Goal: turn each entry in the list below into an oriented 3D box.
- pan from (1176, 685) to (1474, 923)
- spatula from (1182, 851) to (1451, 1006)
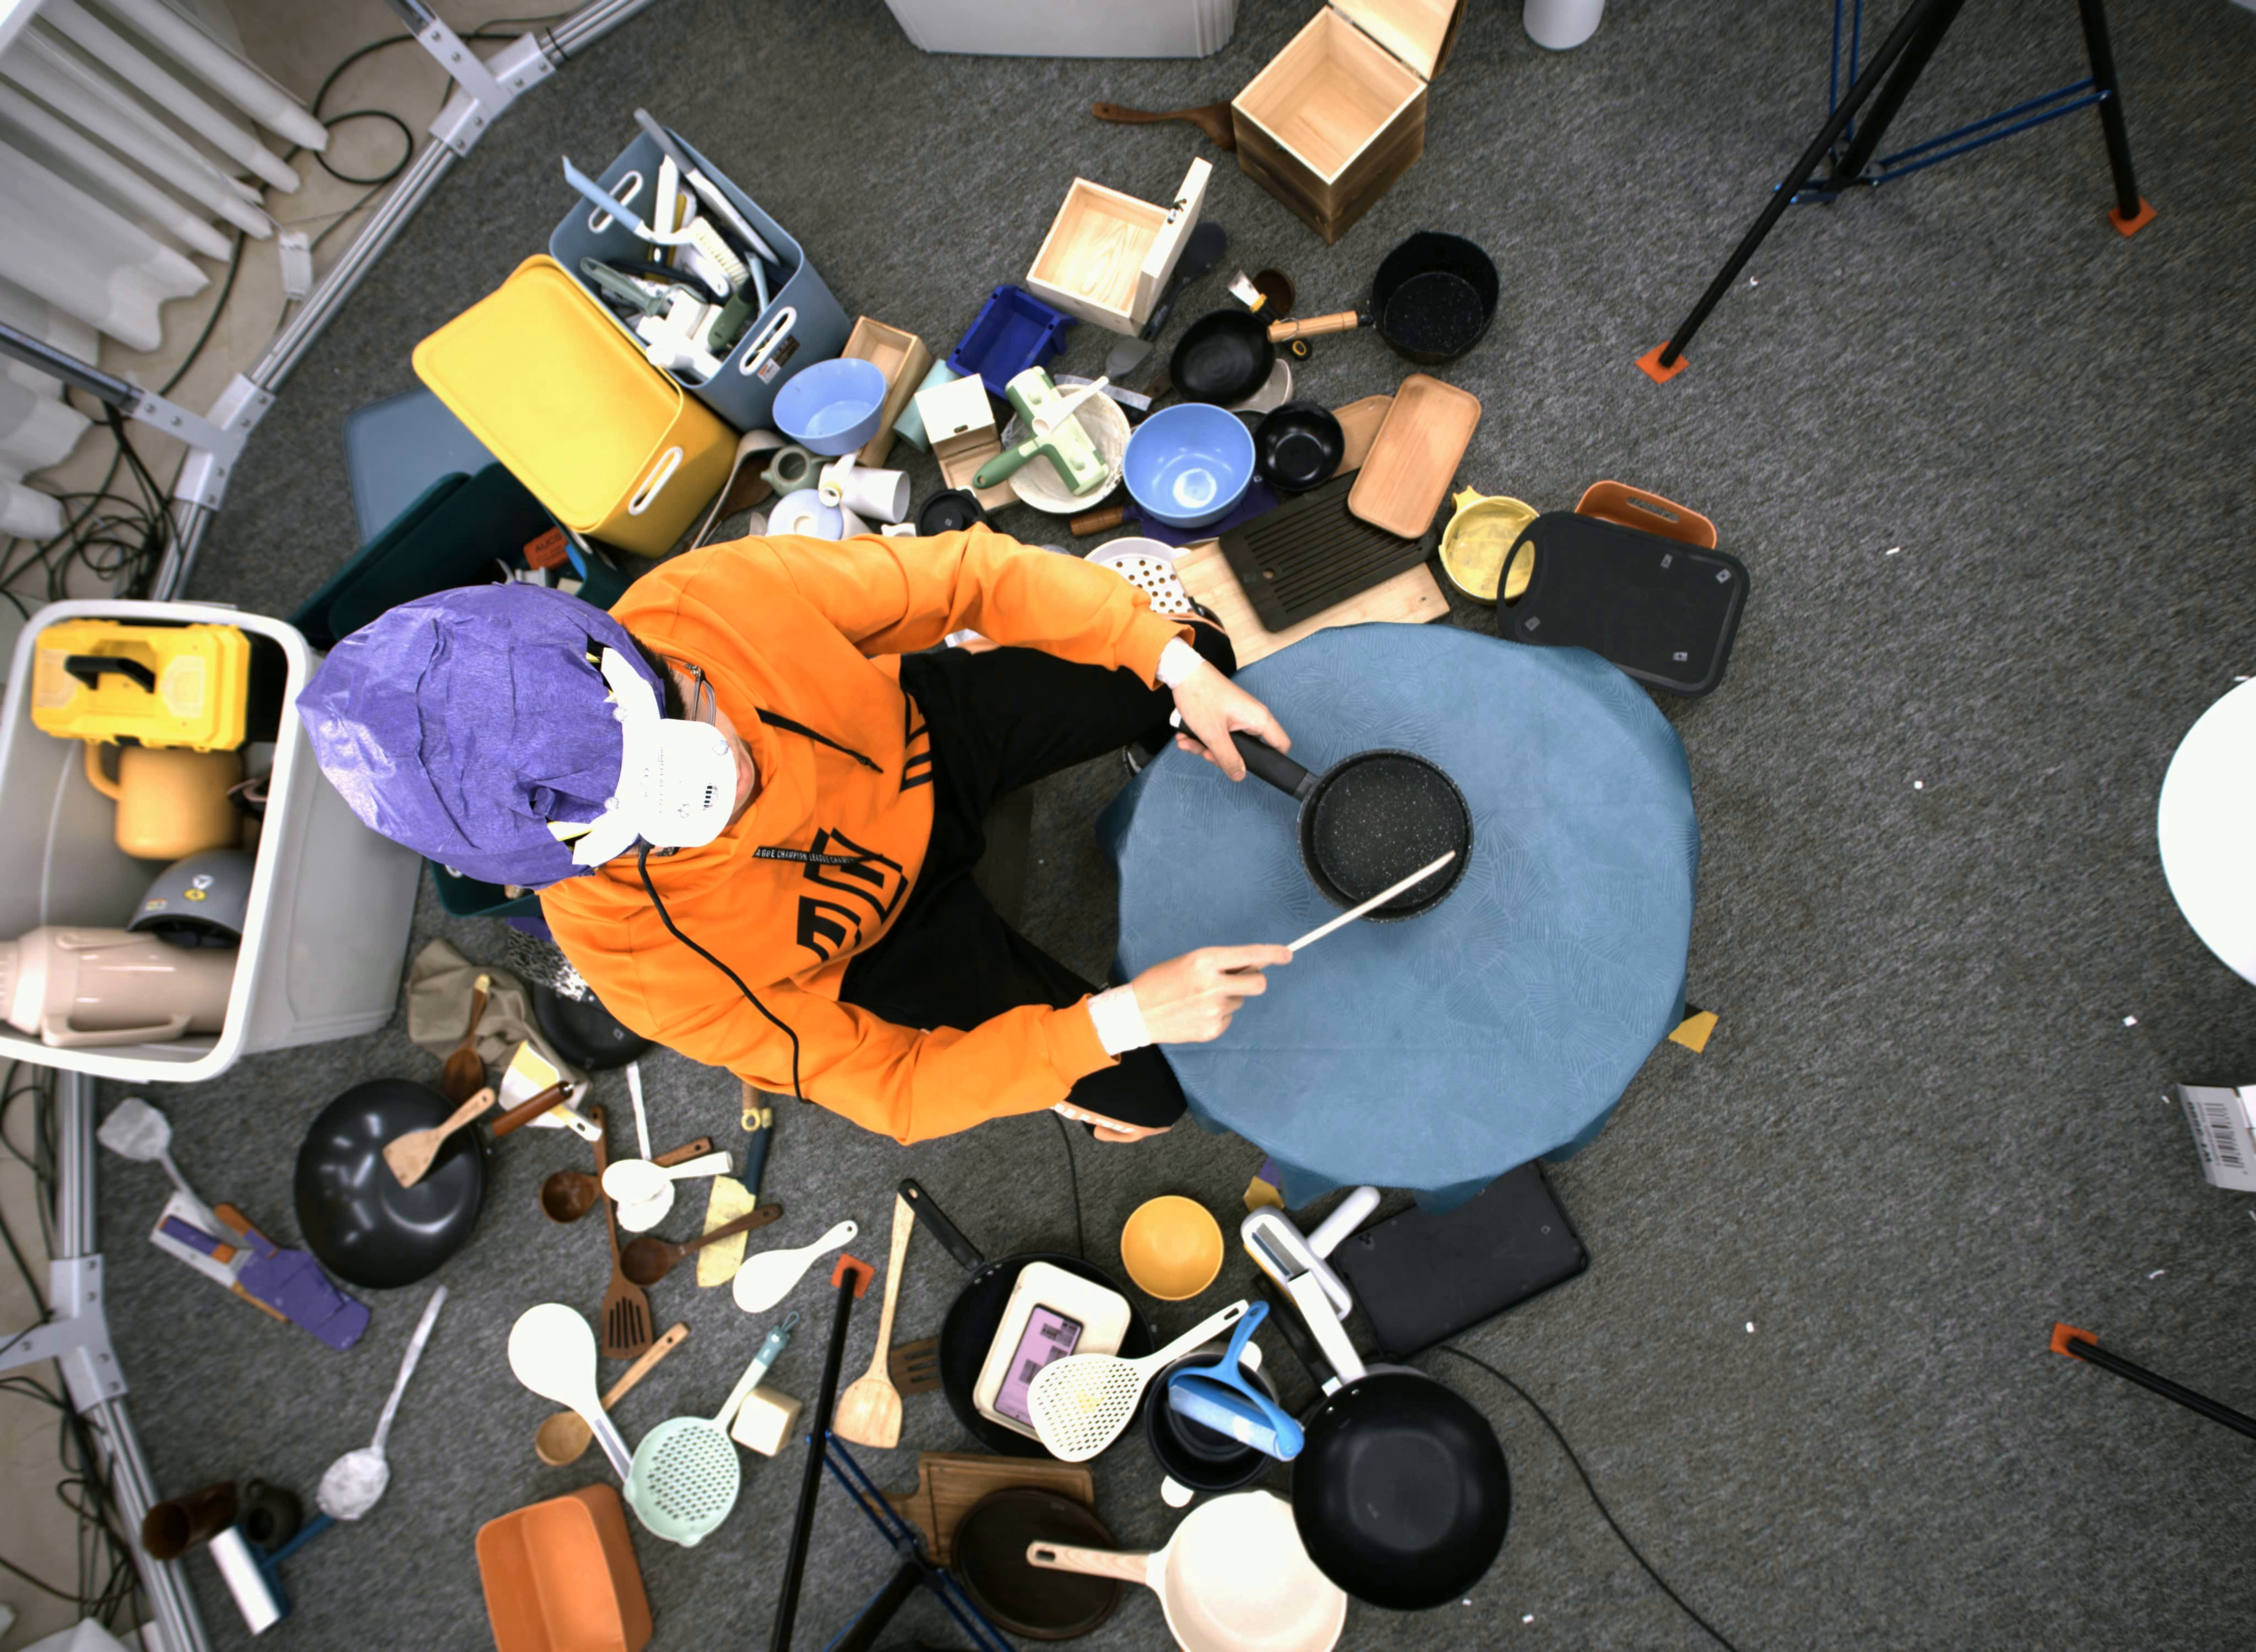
[{"bbox_3d":[0.193,-0.037,1.387,0.328,0.086,0.173,35,101,8],"label":"pan"},{"bbox_3d":[0.180,0.099,1.326,0.293,0.072,0.010,-29,83,0],"label":"spatula"}]
